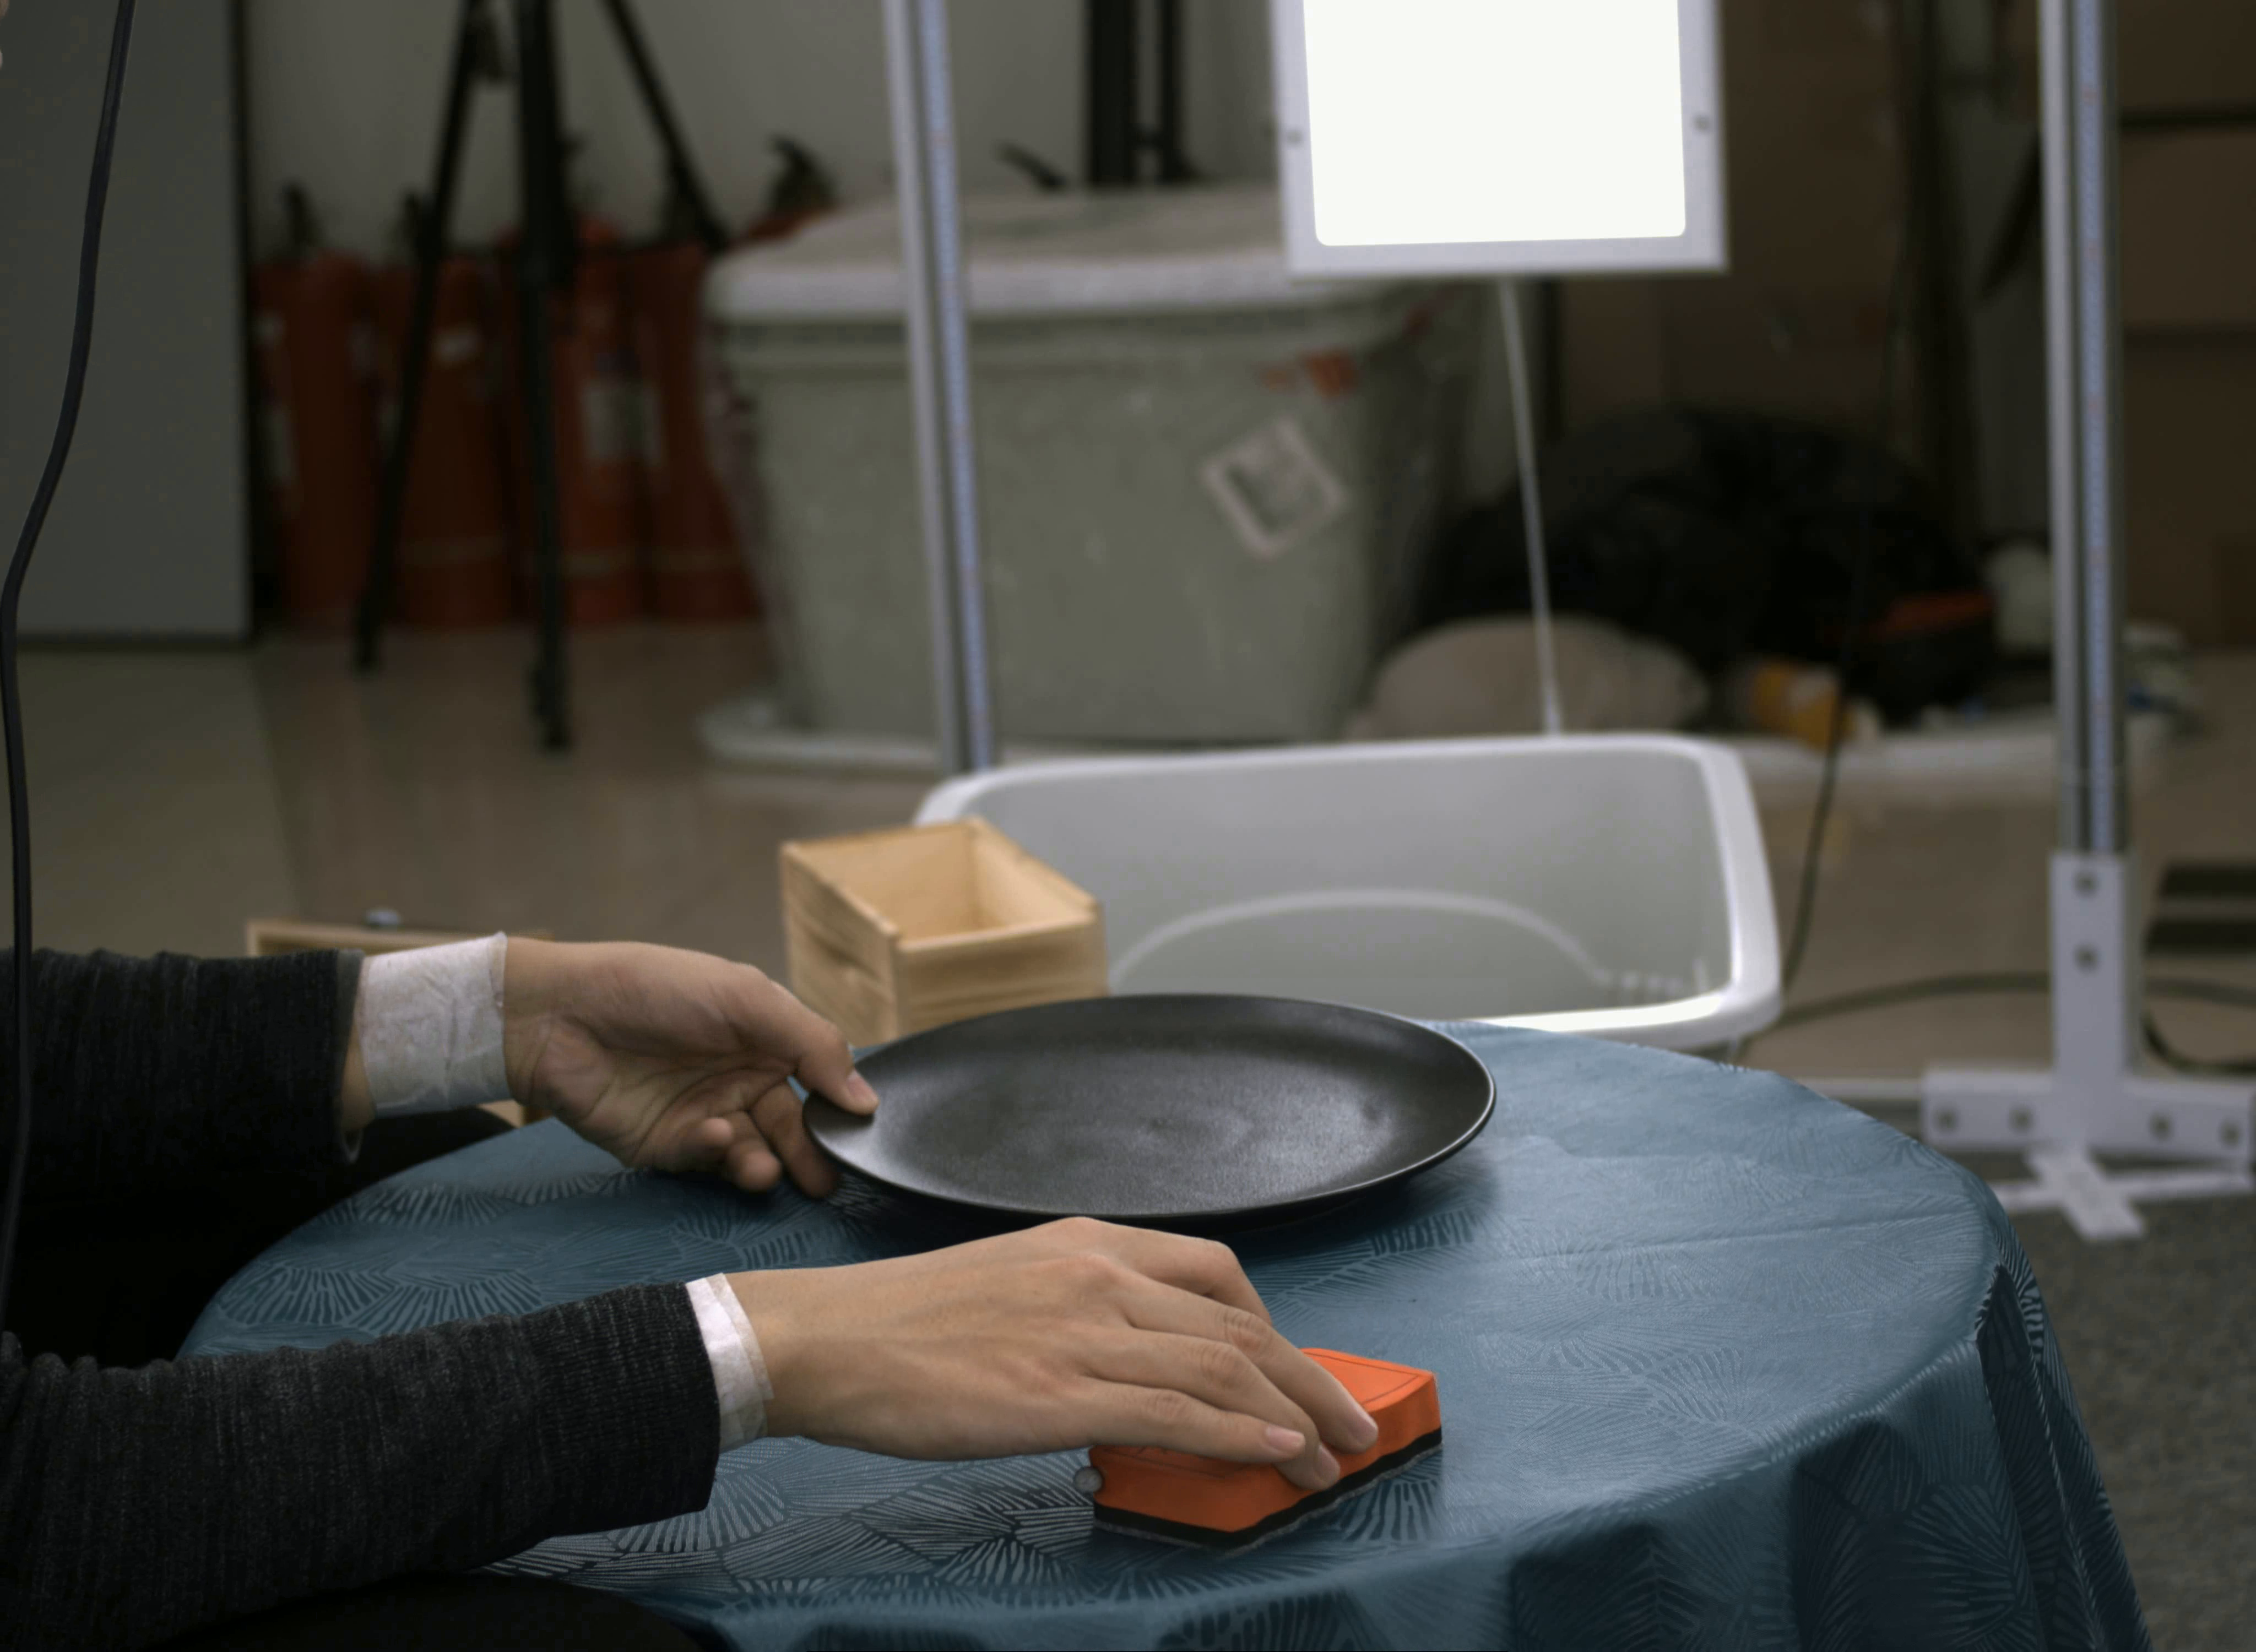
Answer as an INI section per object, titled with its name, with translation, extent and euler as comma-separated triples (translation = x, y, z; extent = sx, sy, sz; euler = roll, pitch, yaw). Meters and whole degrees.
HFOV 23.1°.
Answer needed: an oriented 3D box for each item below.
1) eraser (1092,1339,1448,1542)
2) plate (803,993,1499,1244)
[eraser]
translation = 0.042, 0.179, 1.610
extent = 0.060, 0.023, 0.105
euler = -1, 15, 43
[plate]
translation = 0.008, 0.105, 1.922
extent = 0.244, 0.023, 0.244
euler = -4, 15, 0
